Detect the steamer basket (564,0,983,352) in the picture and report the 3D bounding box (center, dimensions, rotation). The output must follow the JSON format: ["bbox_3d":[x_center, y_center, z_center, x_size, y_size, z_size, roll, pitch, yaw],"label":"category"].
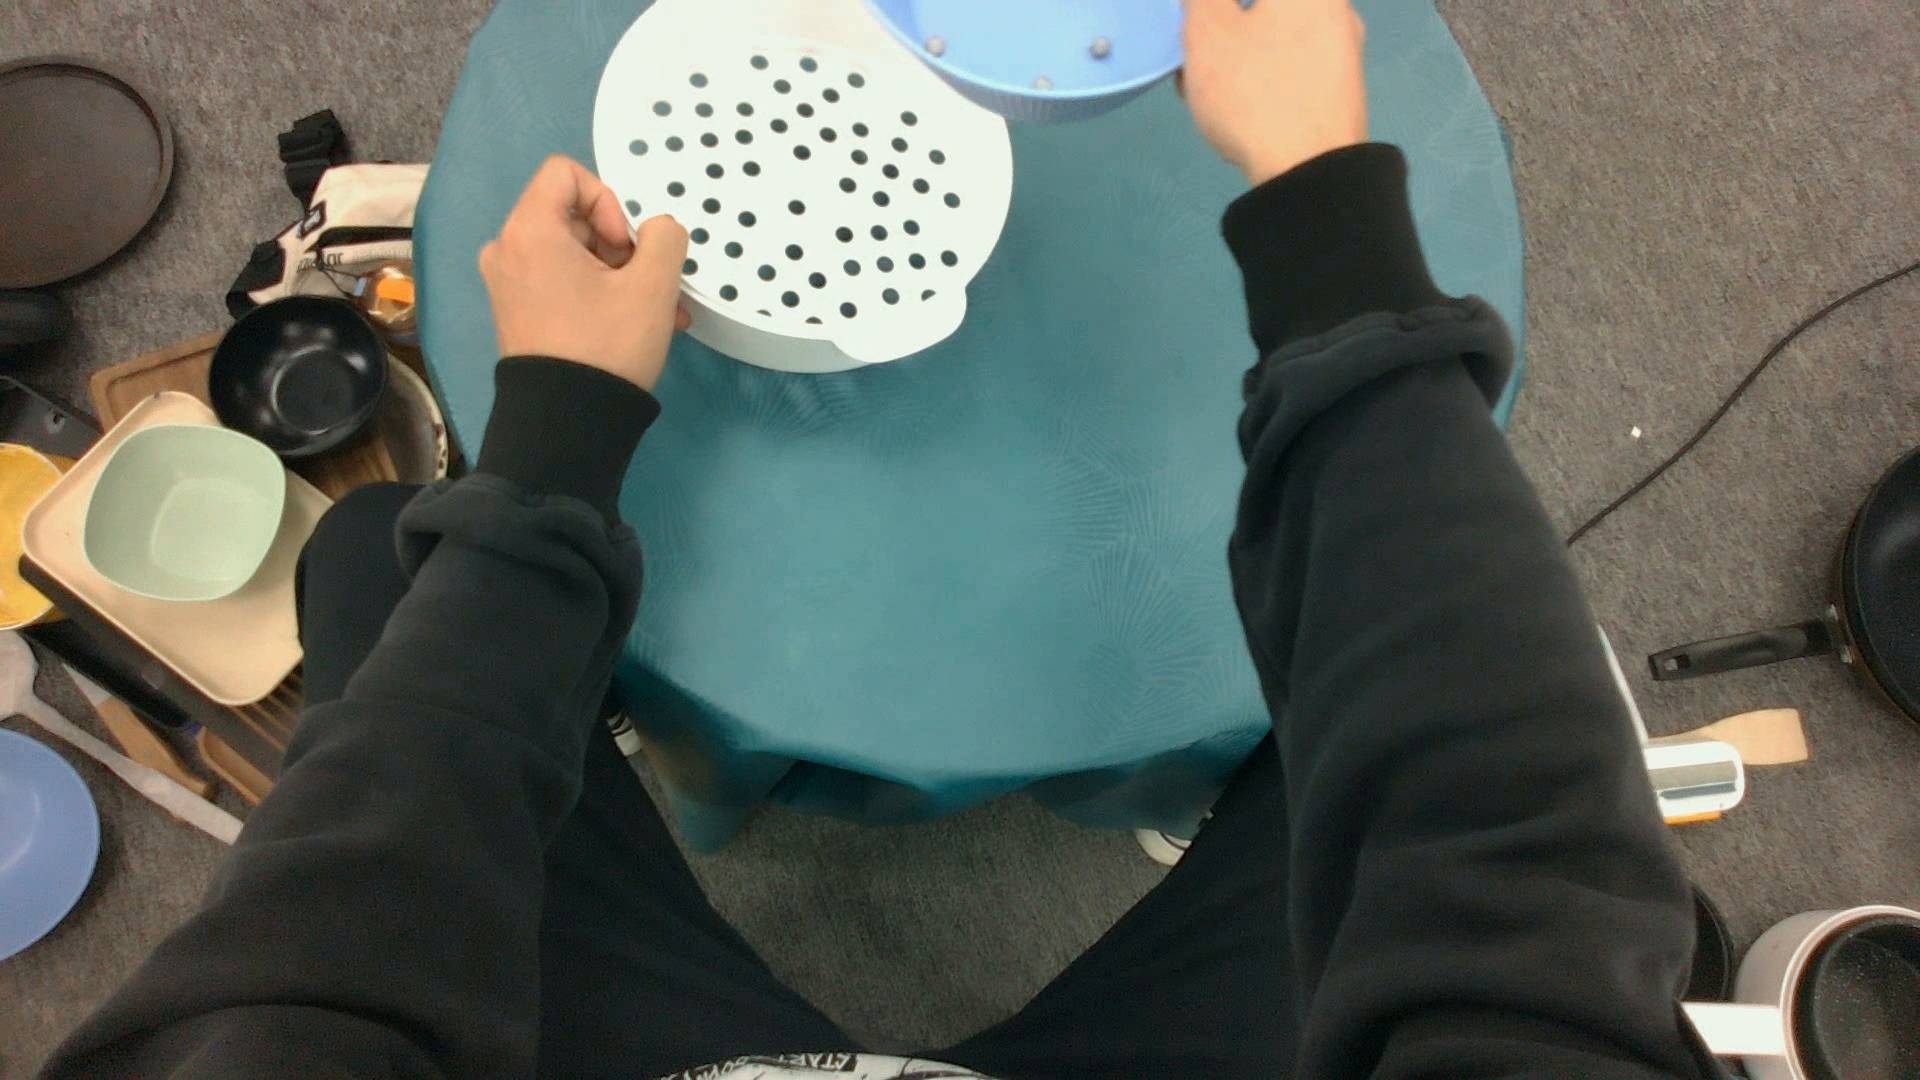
[{"bbox_3d":[-0.093,-0.192,0.691,0.202,0.069,0.231,-26,80,-20],"label":"steamer basket"}]

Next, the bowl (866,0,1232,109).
[{"bbox_3d":[0.036,-0.254,0.589,0.176,0.070,0.176,0,75,0],"label":"bowl"}]
